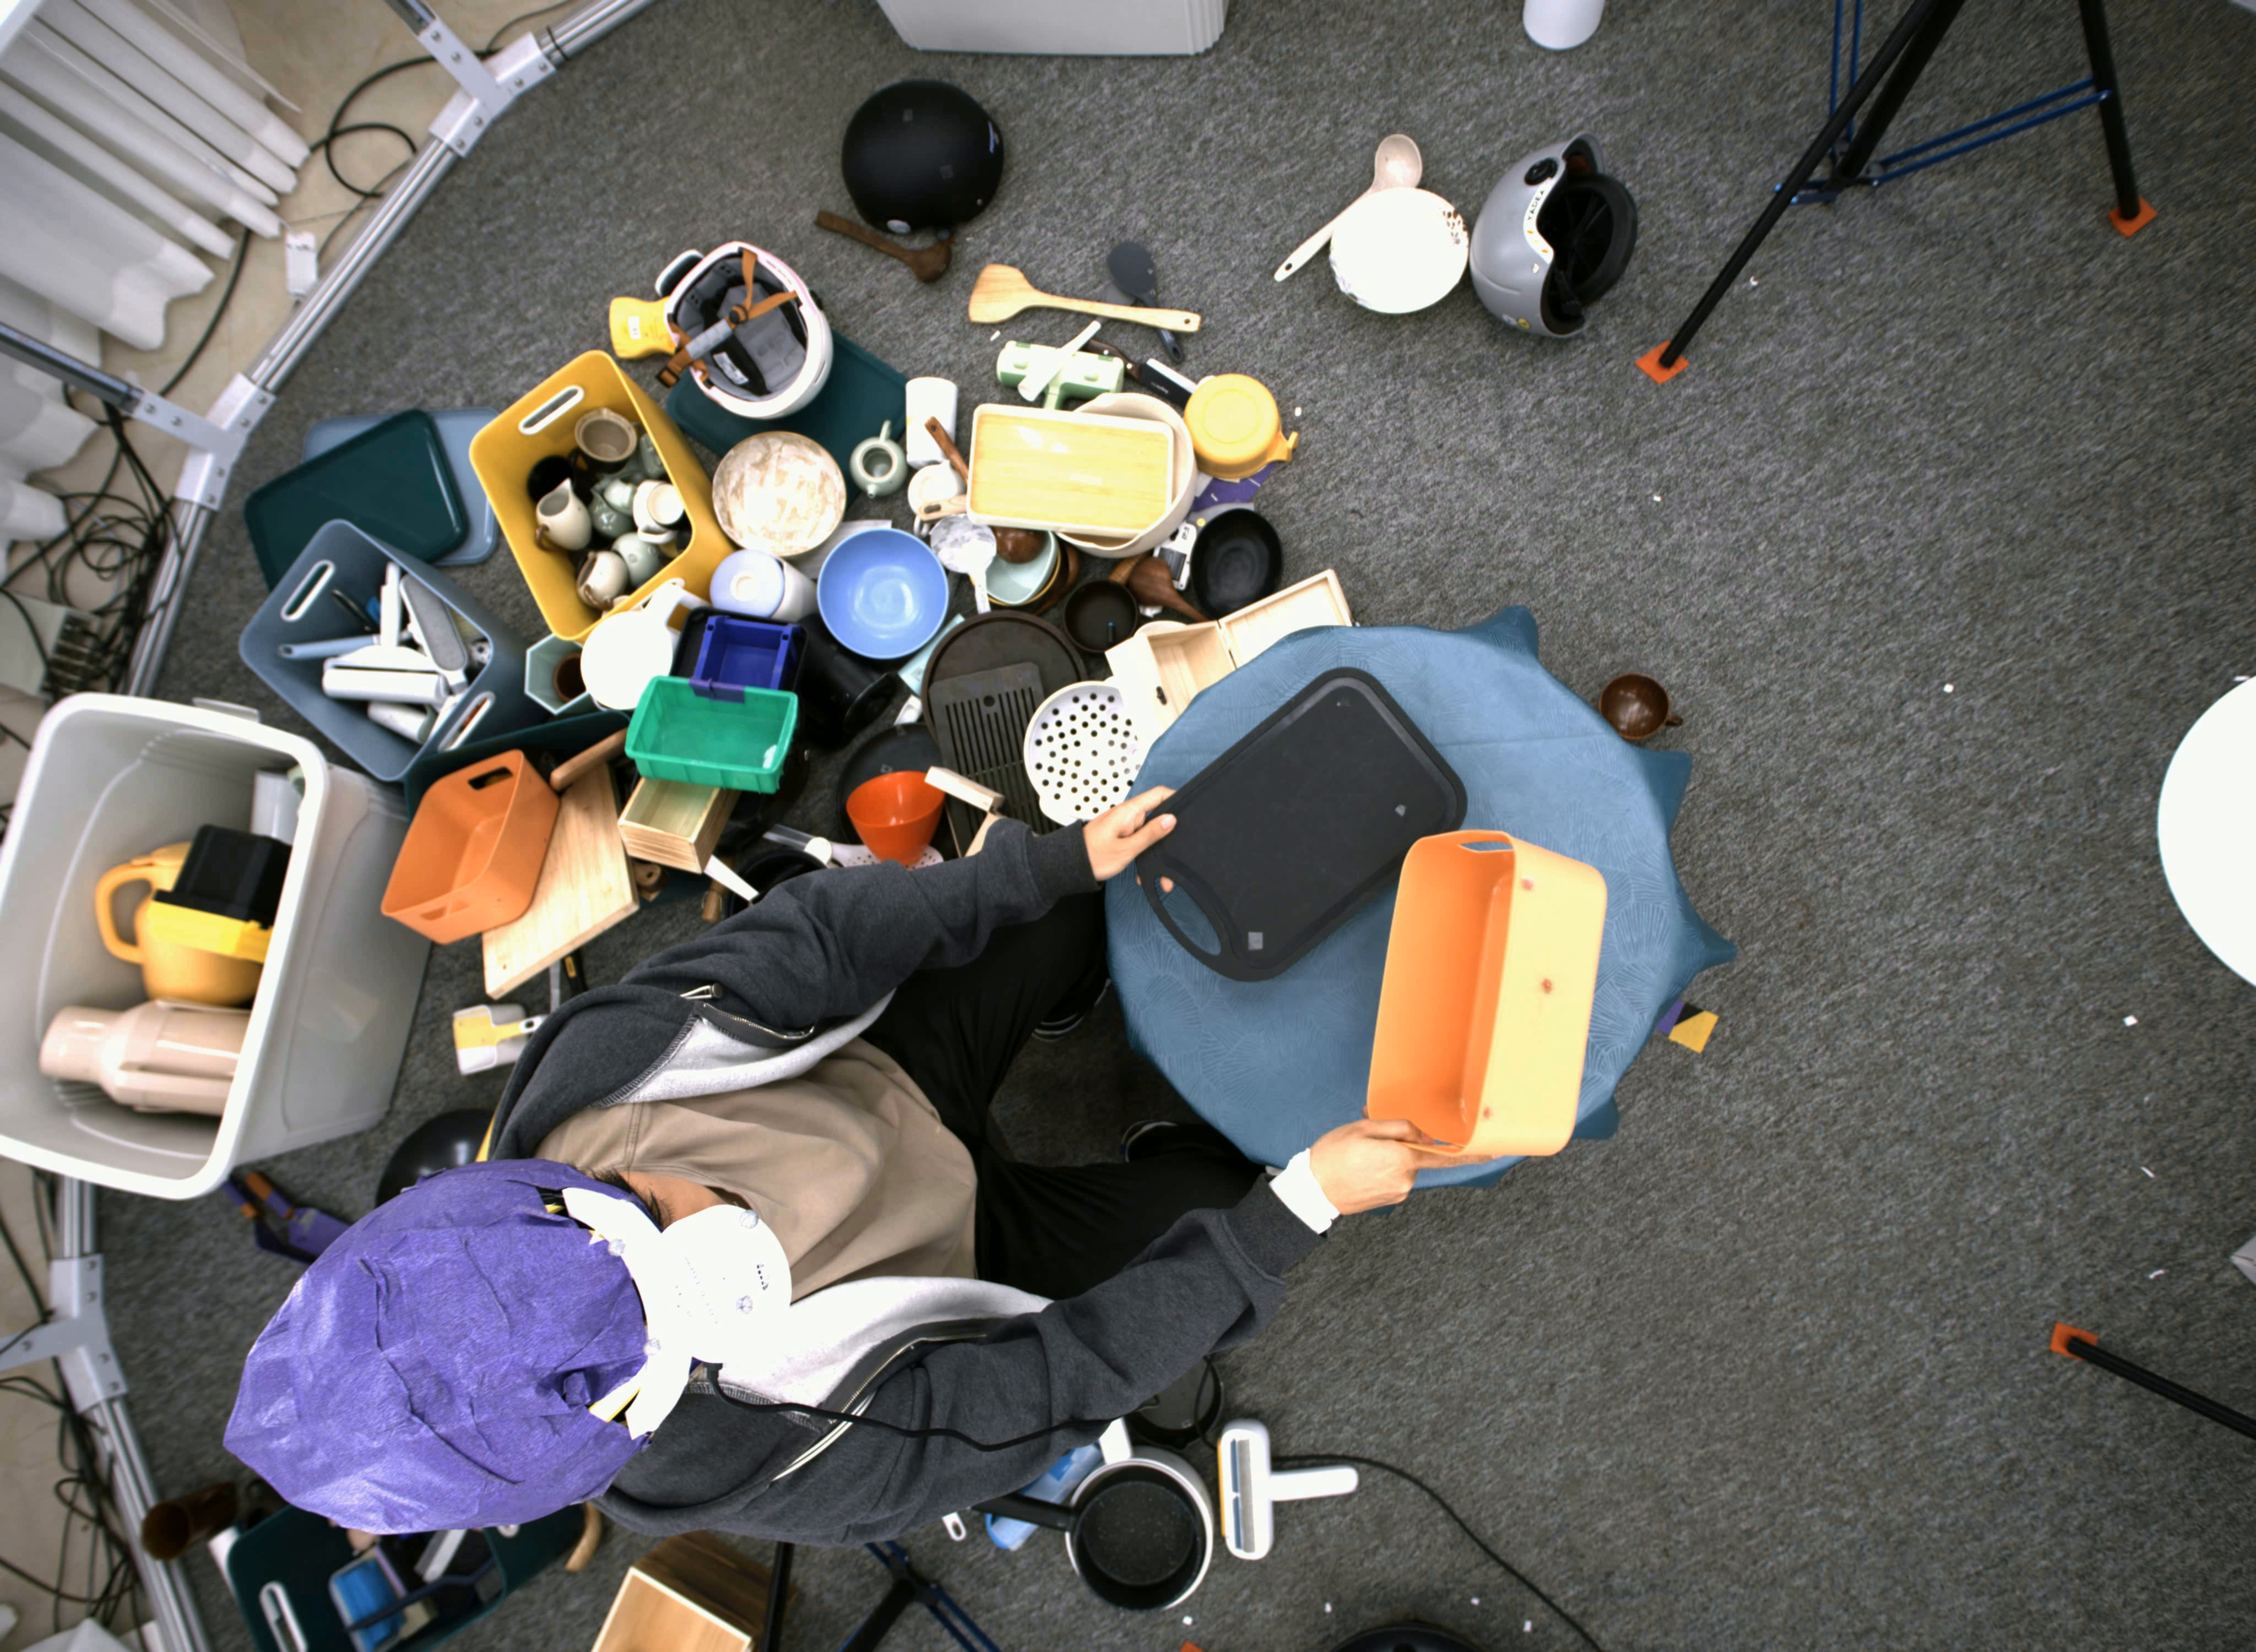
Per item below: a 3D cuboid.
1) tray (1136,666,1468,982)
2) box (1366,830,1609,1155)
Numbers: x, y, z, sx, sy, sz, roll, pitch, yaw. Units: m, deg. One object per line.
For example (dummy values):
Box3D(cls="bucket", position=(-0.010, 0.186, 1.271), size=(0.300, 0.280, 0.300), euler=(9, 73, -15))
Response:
Box3D(cls="tray", position=(0.168, 0.003, 1.388), size=(0.326, 0.010, 0.210), euler=(-39, 86, 4))
Box3D(cls="box", position=(0.311, 0.146, 1.197), size=(0.102, 0.200, 0.272), euler=(11, 86, -18))
